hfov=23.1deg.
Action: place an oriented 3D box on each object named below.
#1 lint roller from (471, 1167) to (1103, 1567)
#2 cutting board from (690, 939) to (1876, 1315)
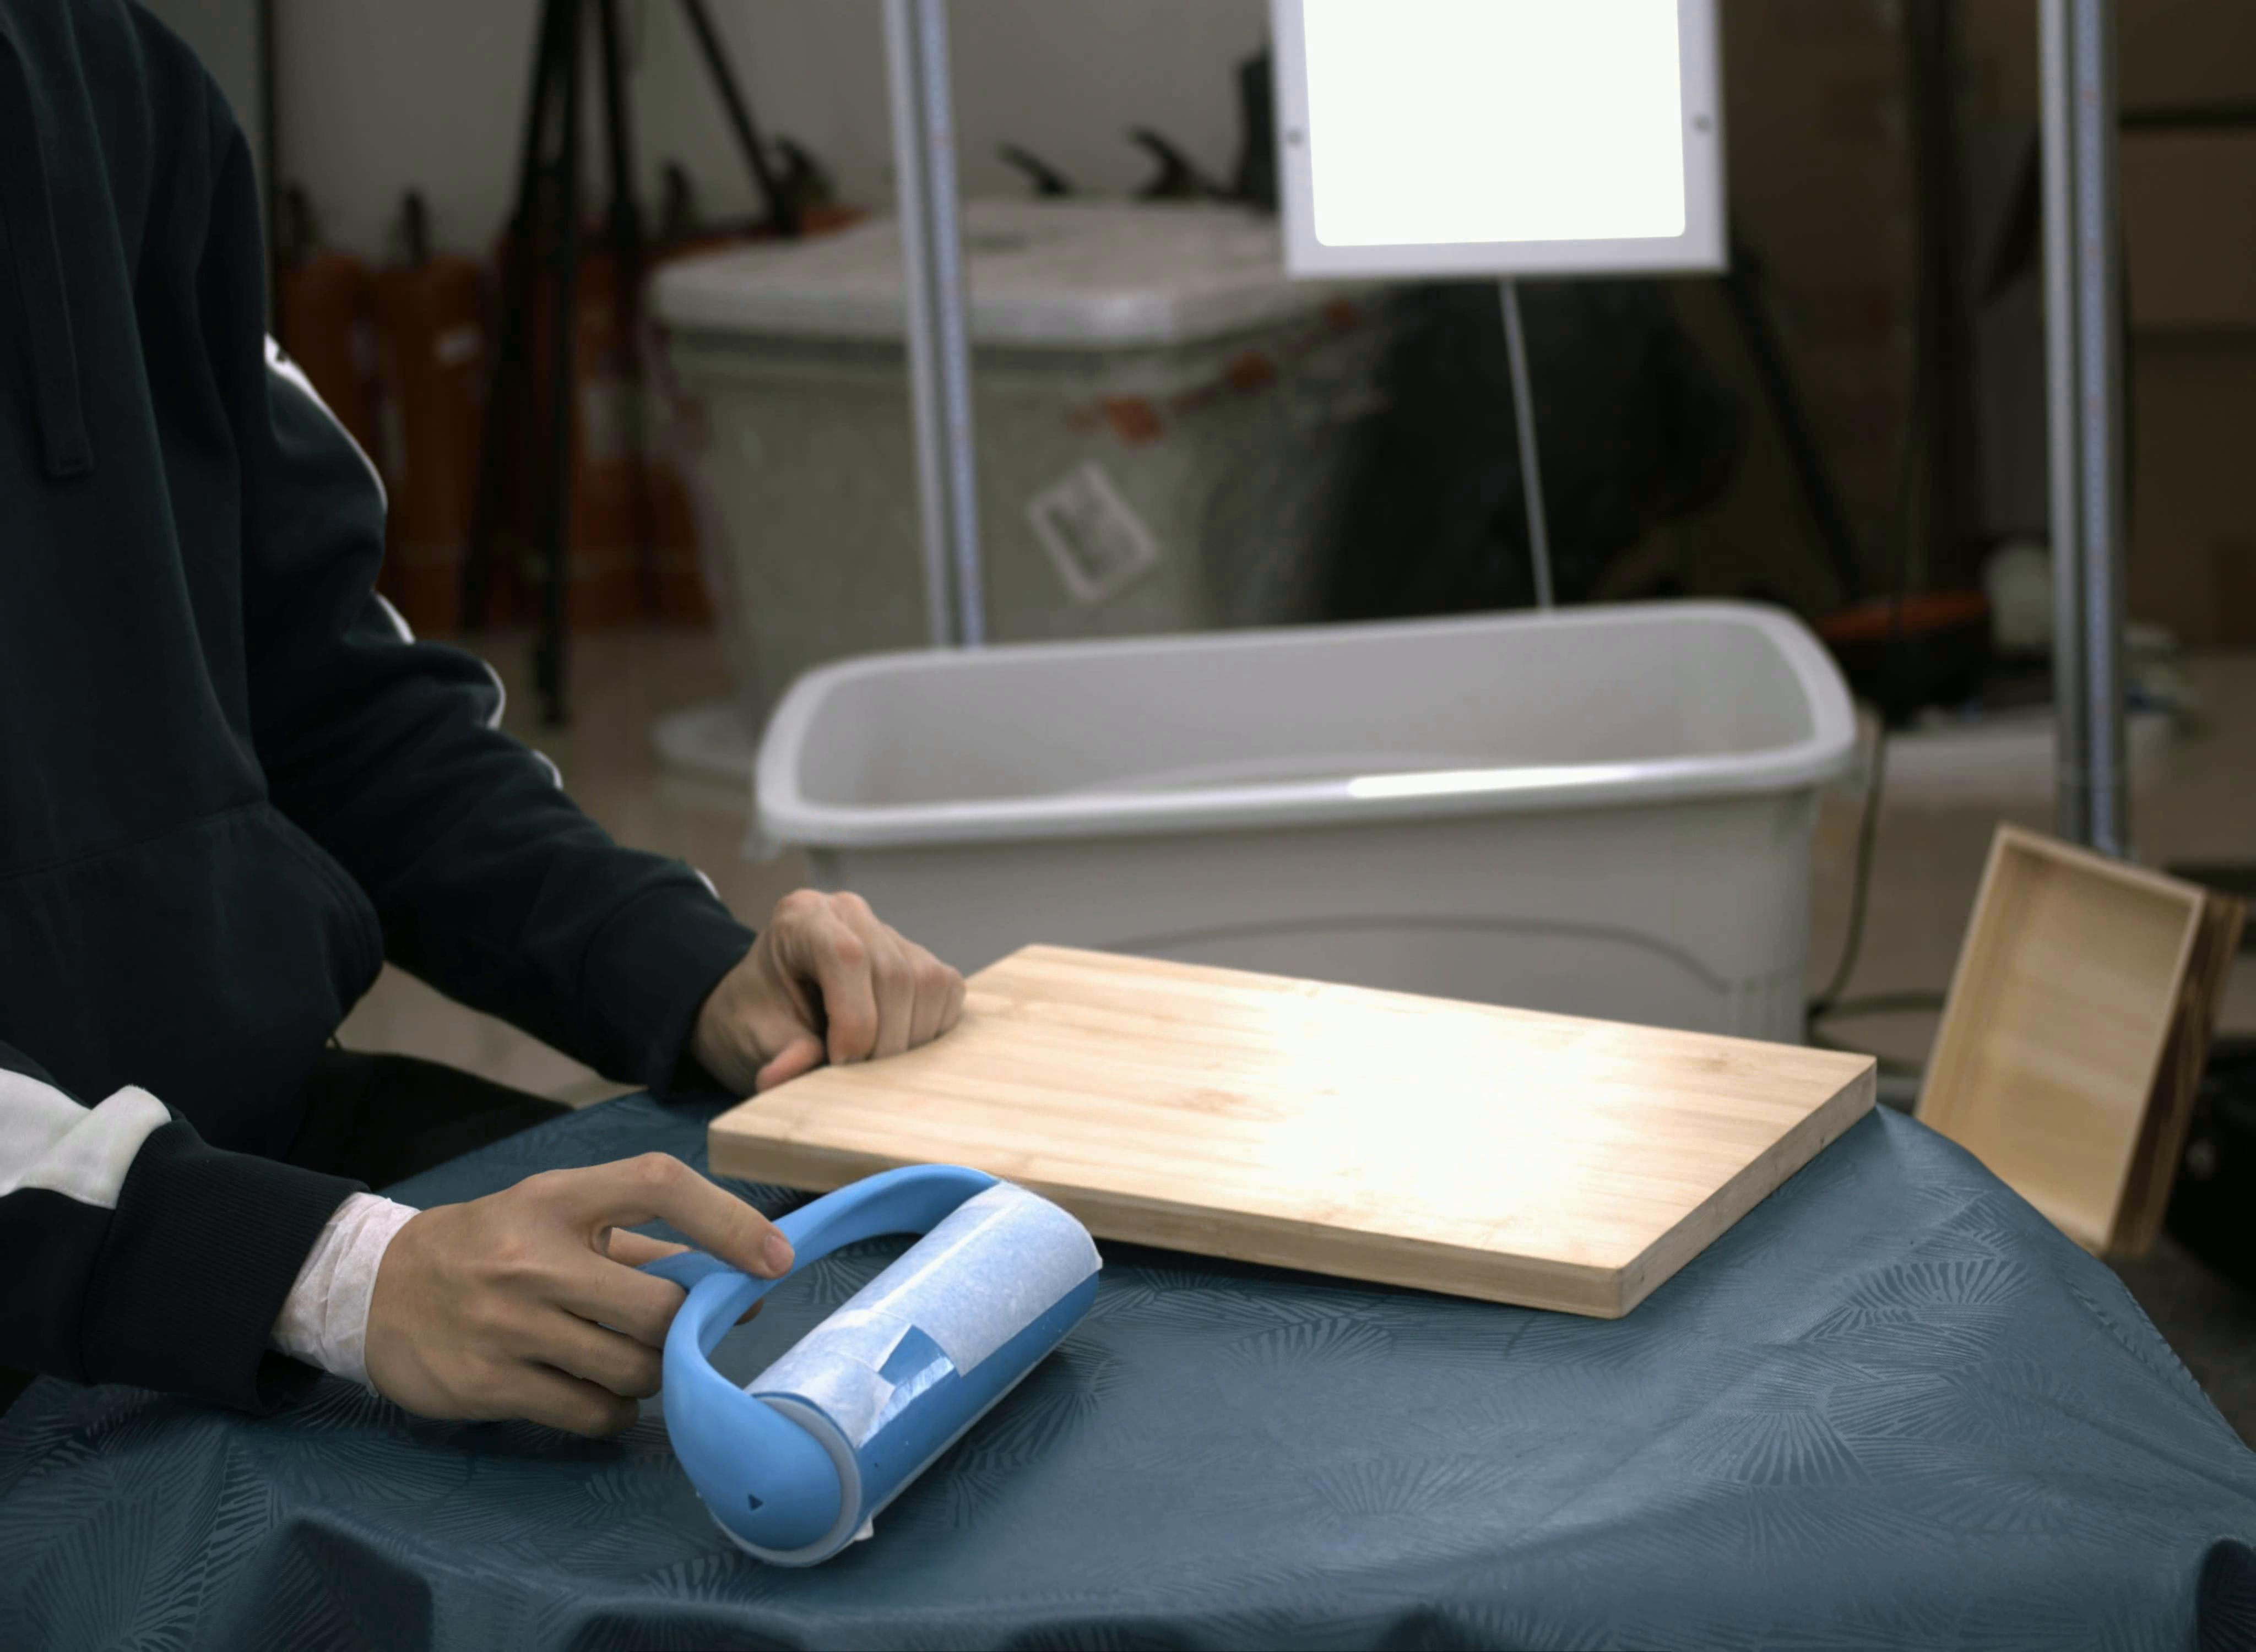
[{"bbox_3d":[-0.121,0.161,1.679,0.182,0.068,0.225,0,16,19],"label":"lint roller"},{"bbox_3d":[0.056,0.099,1.904,0.354,0.024,0.245,7,17,27],"label":"cutting board"}]
